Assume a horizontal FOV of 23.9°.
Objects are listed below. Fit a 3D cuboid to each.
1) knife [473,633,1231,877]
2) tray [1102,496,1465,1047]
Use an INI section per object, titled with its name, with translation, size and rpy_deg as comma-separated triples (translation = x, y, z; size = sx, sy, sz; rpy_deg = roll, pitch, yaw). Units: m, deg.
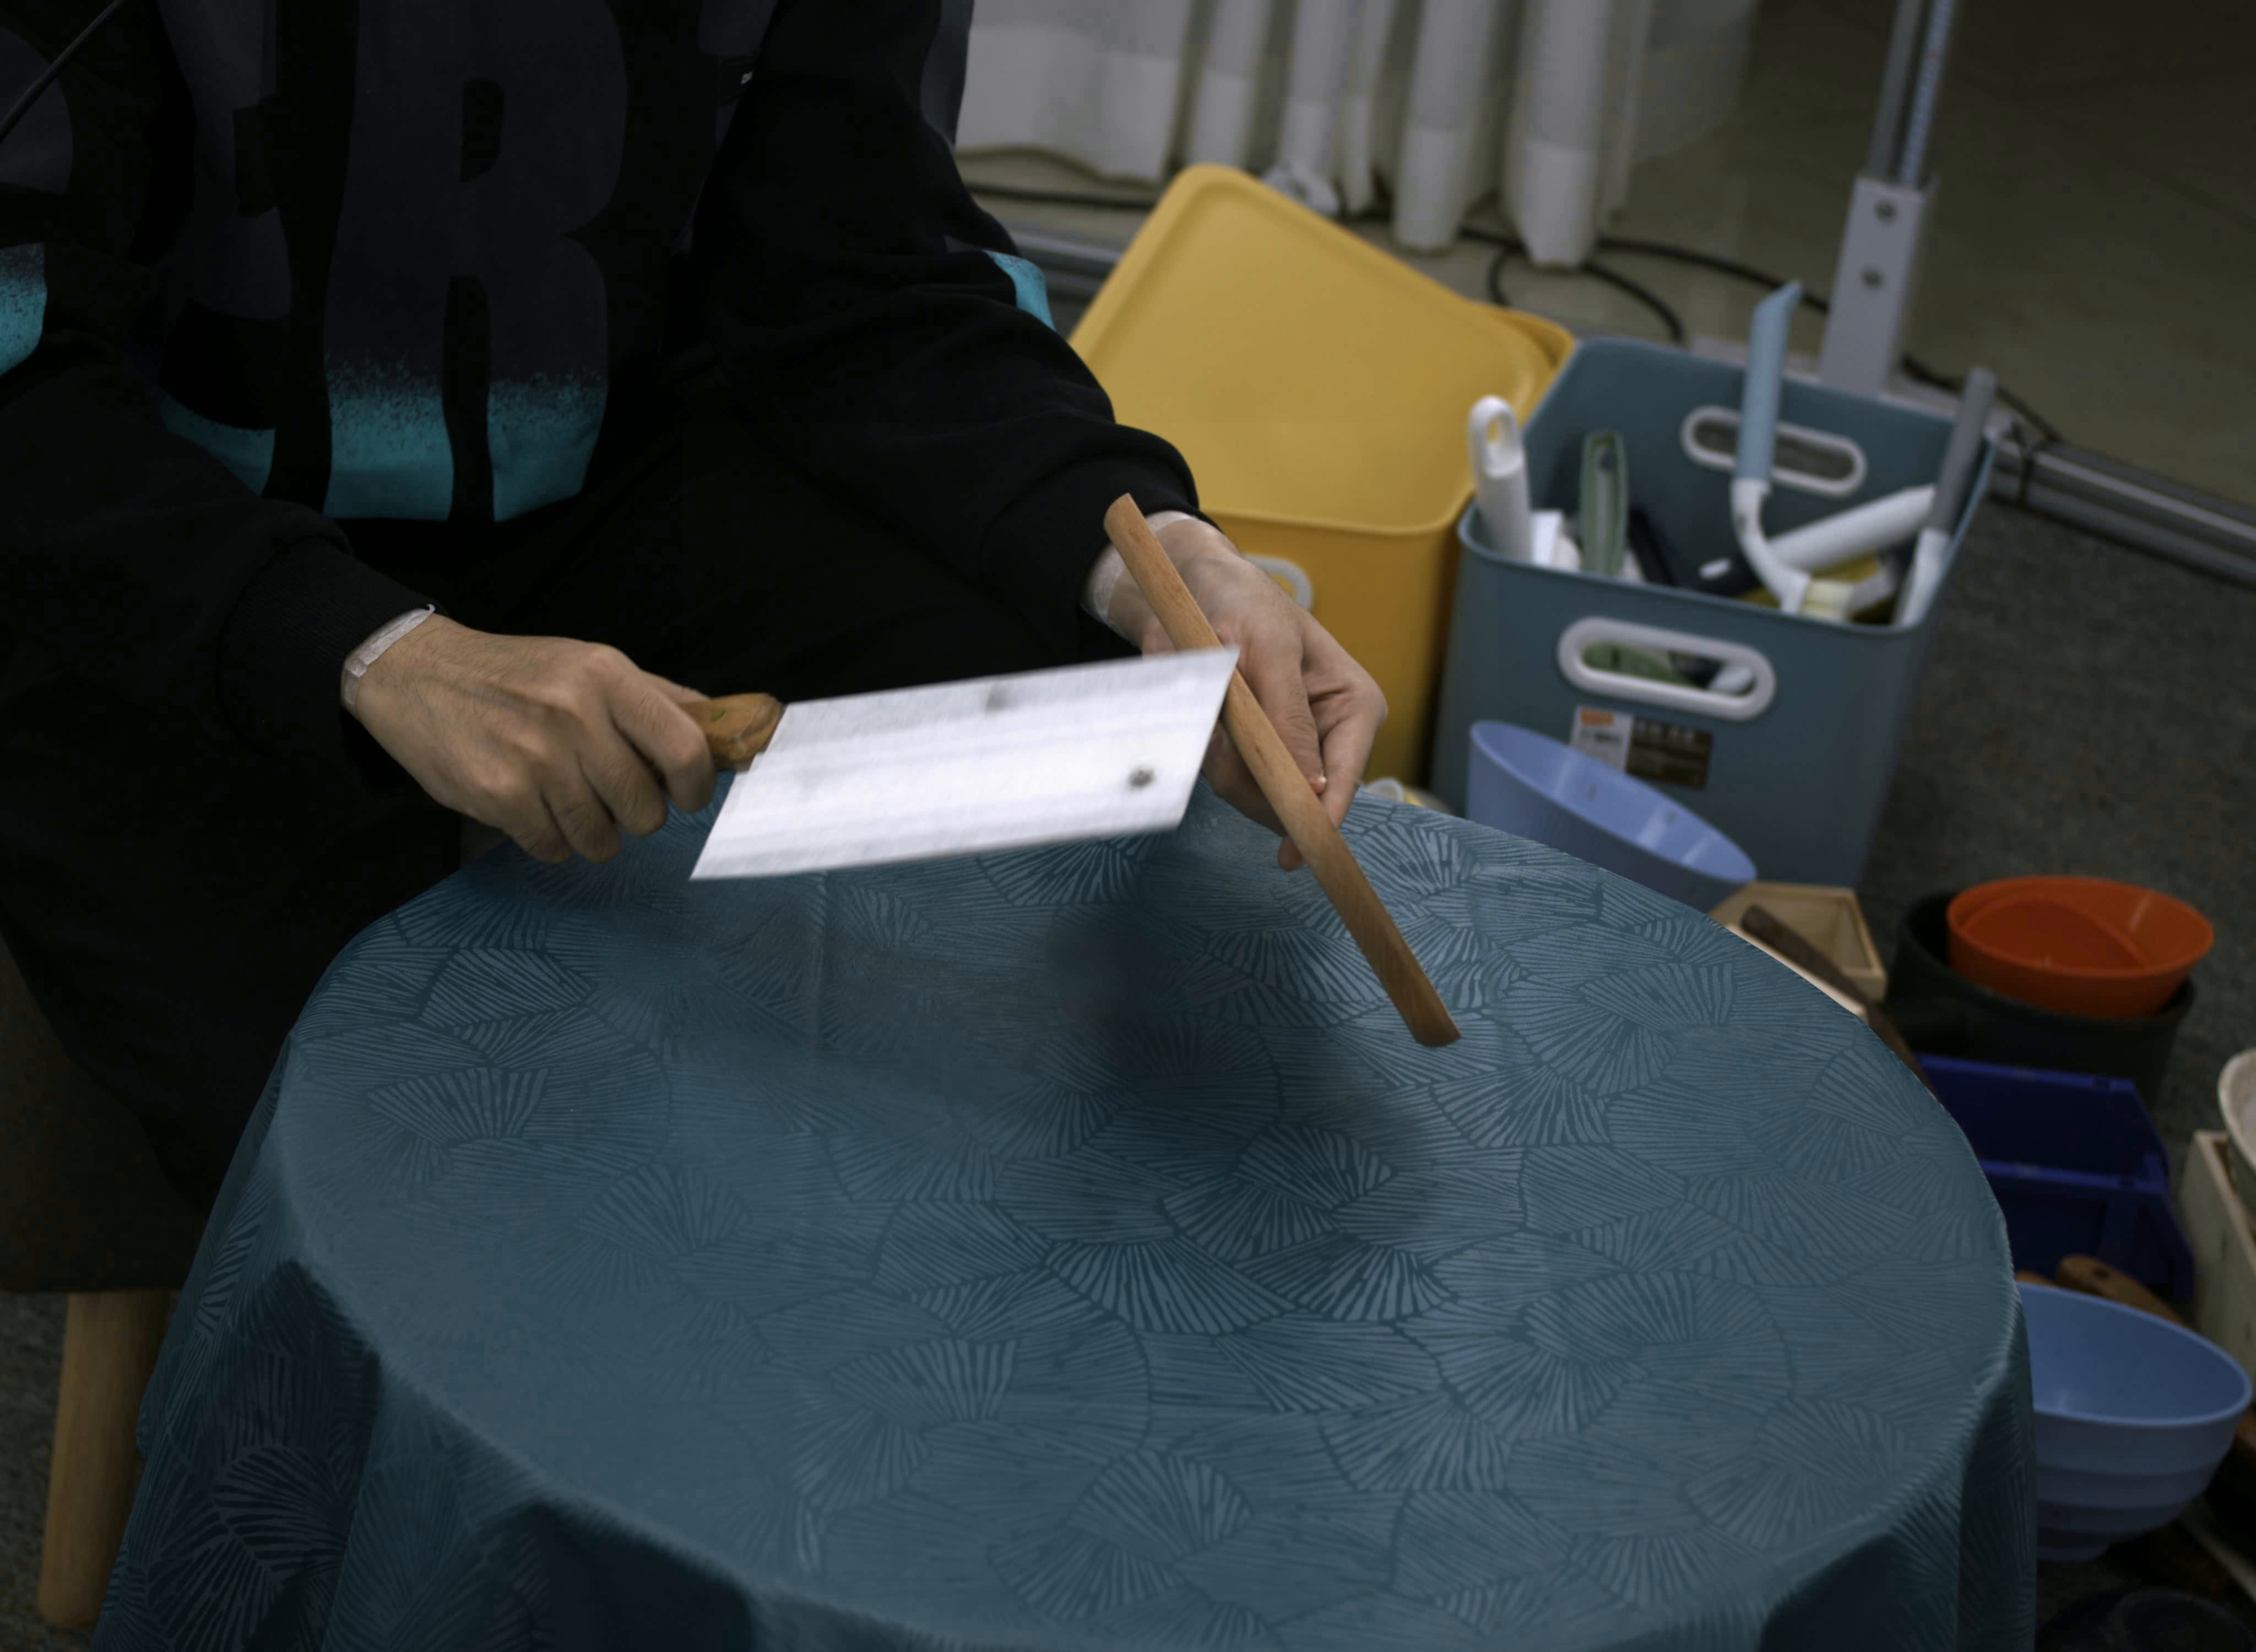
[knife]
translation = -0.107, -0.019, 1.879
size = 0.306, 0.021, 0.093
rpy_deg = -8, 41, 25
[tray]
translation = 0.052, -0.021, 1.891
size = 0.023, 0.129, 0.253
rpy_deg = -30, 34, -1
